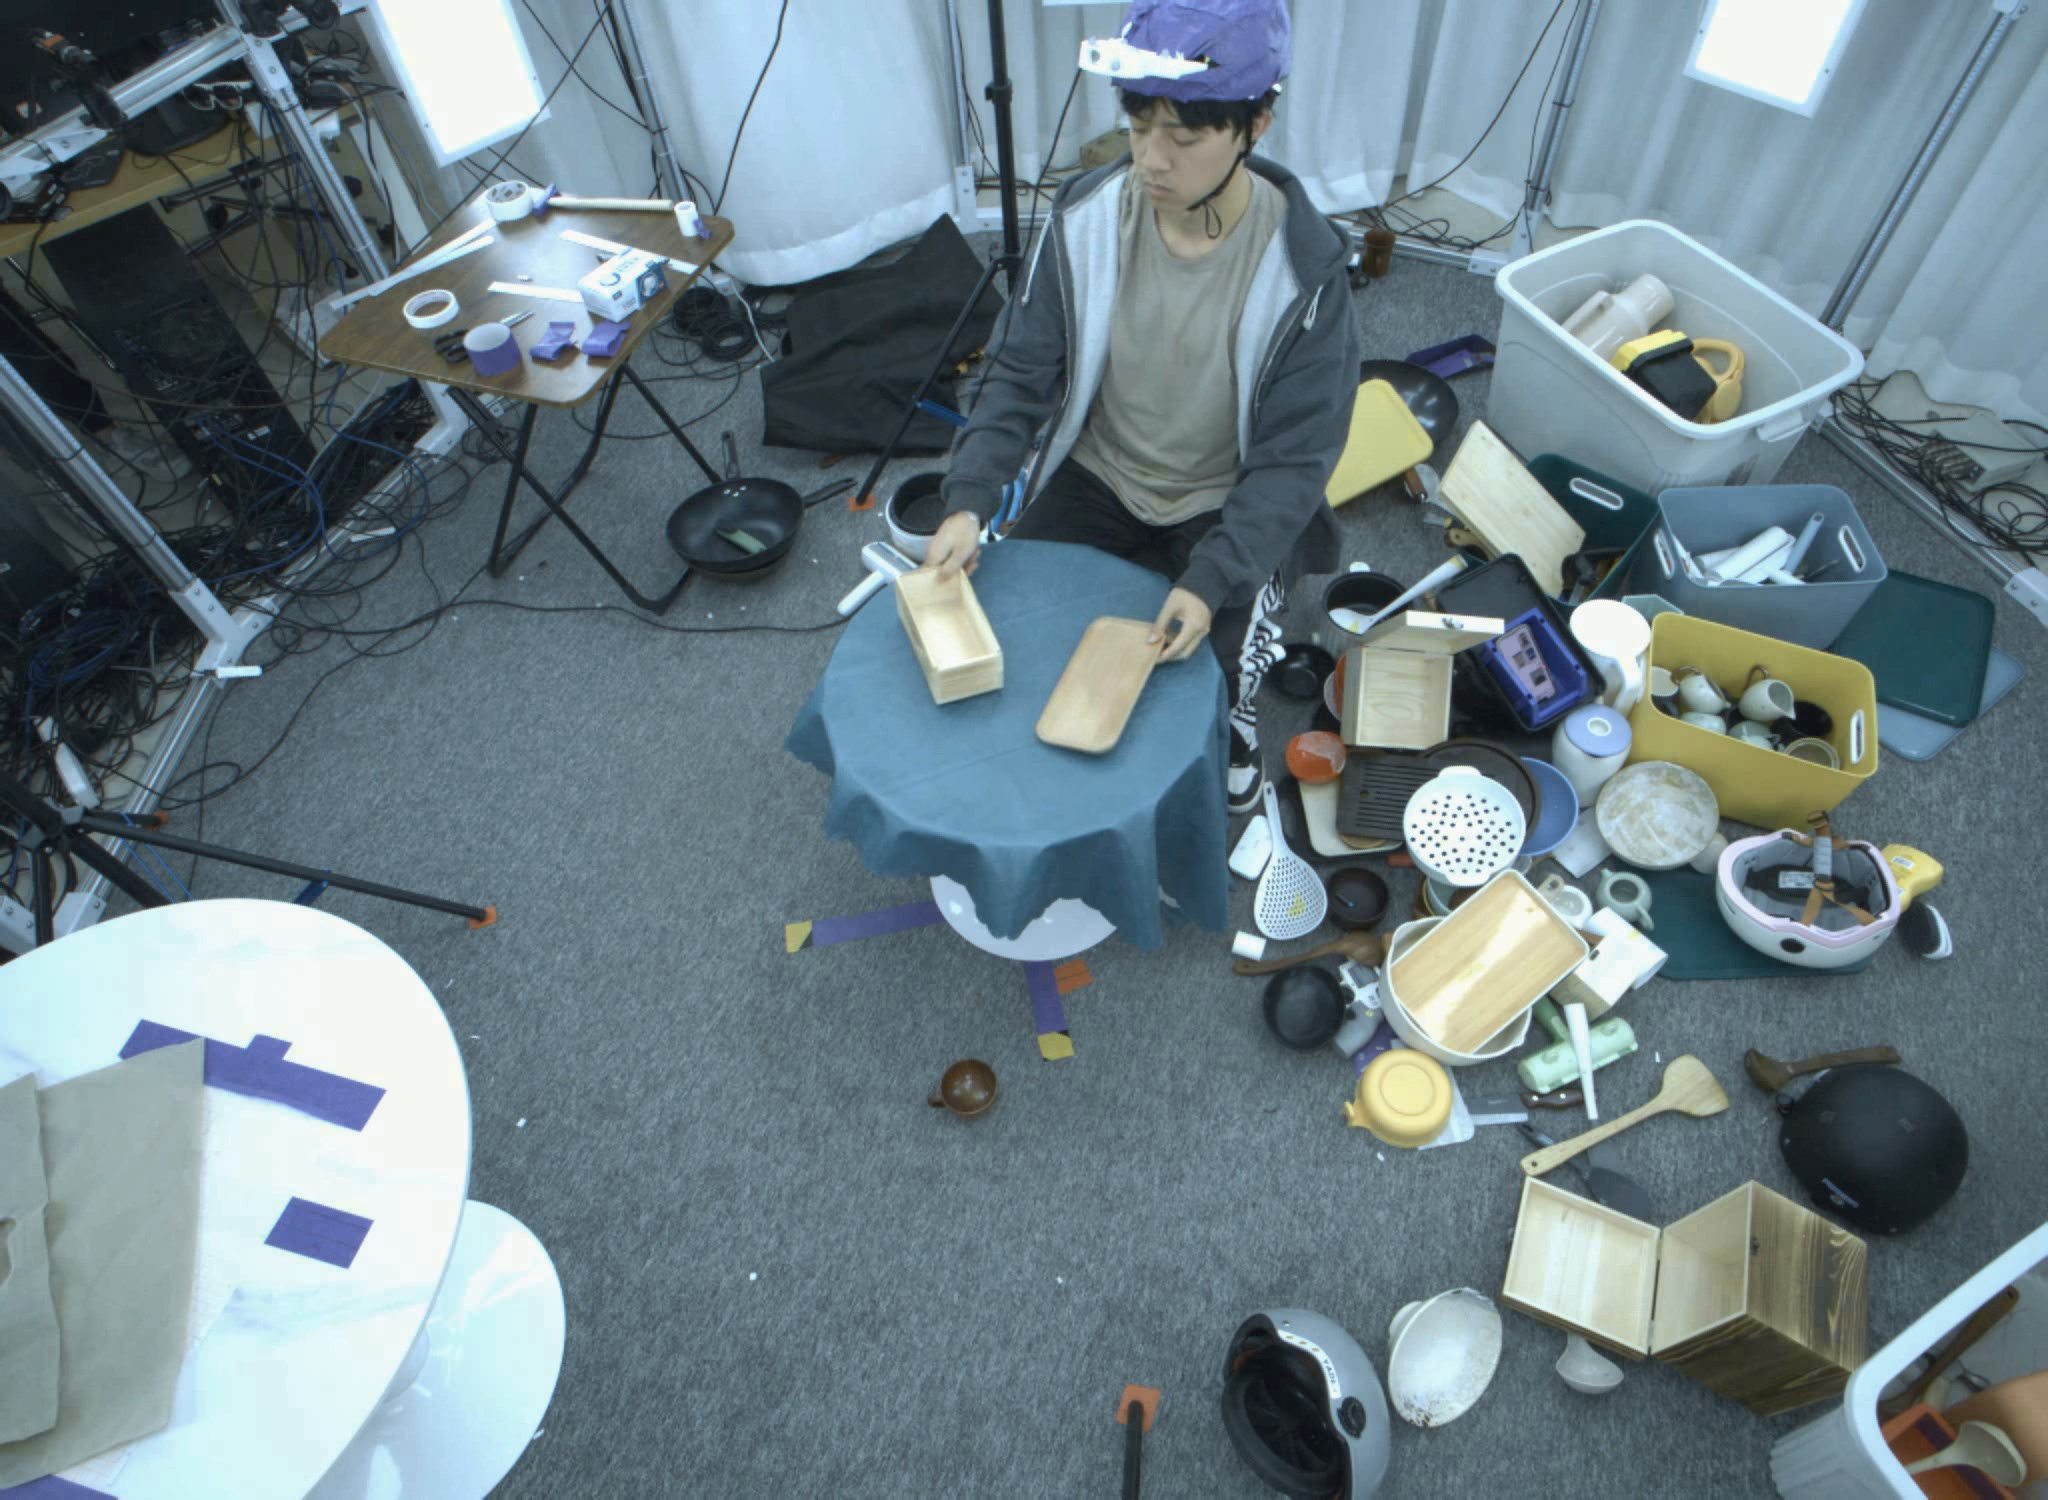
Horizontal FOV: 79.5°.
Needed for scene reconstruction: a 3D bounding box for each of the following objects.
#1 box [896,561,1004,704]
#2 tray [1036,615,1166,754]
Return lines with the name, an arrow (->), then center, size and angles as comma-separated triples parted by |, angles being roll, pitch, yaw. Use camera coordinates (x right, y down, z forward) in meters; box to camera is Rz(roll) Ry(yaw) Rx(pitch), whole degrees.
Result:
box -> -0.115, -0.182, 1.866 | 0.108, 0.081, 0.207 | -15, 53, -13
tray -> 0.116, -0.100, 1.830 | 0.128, 0.023, 0.251 | 15, 58, 21
